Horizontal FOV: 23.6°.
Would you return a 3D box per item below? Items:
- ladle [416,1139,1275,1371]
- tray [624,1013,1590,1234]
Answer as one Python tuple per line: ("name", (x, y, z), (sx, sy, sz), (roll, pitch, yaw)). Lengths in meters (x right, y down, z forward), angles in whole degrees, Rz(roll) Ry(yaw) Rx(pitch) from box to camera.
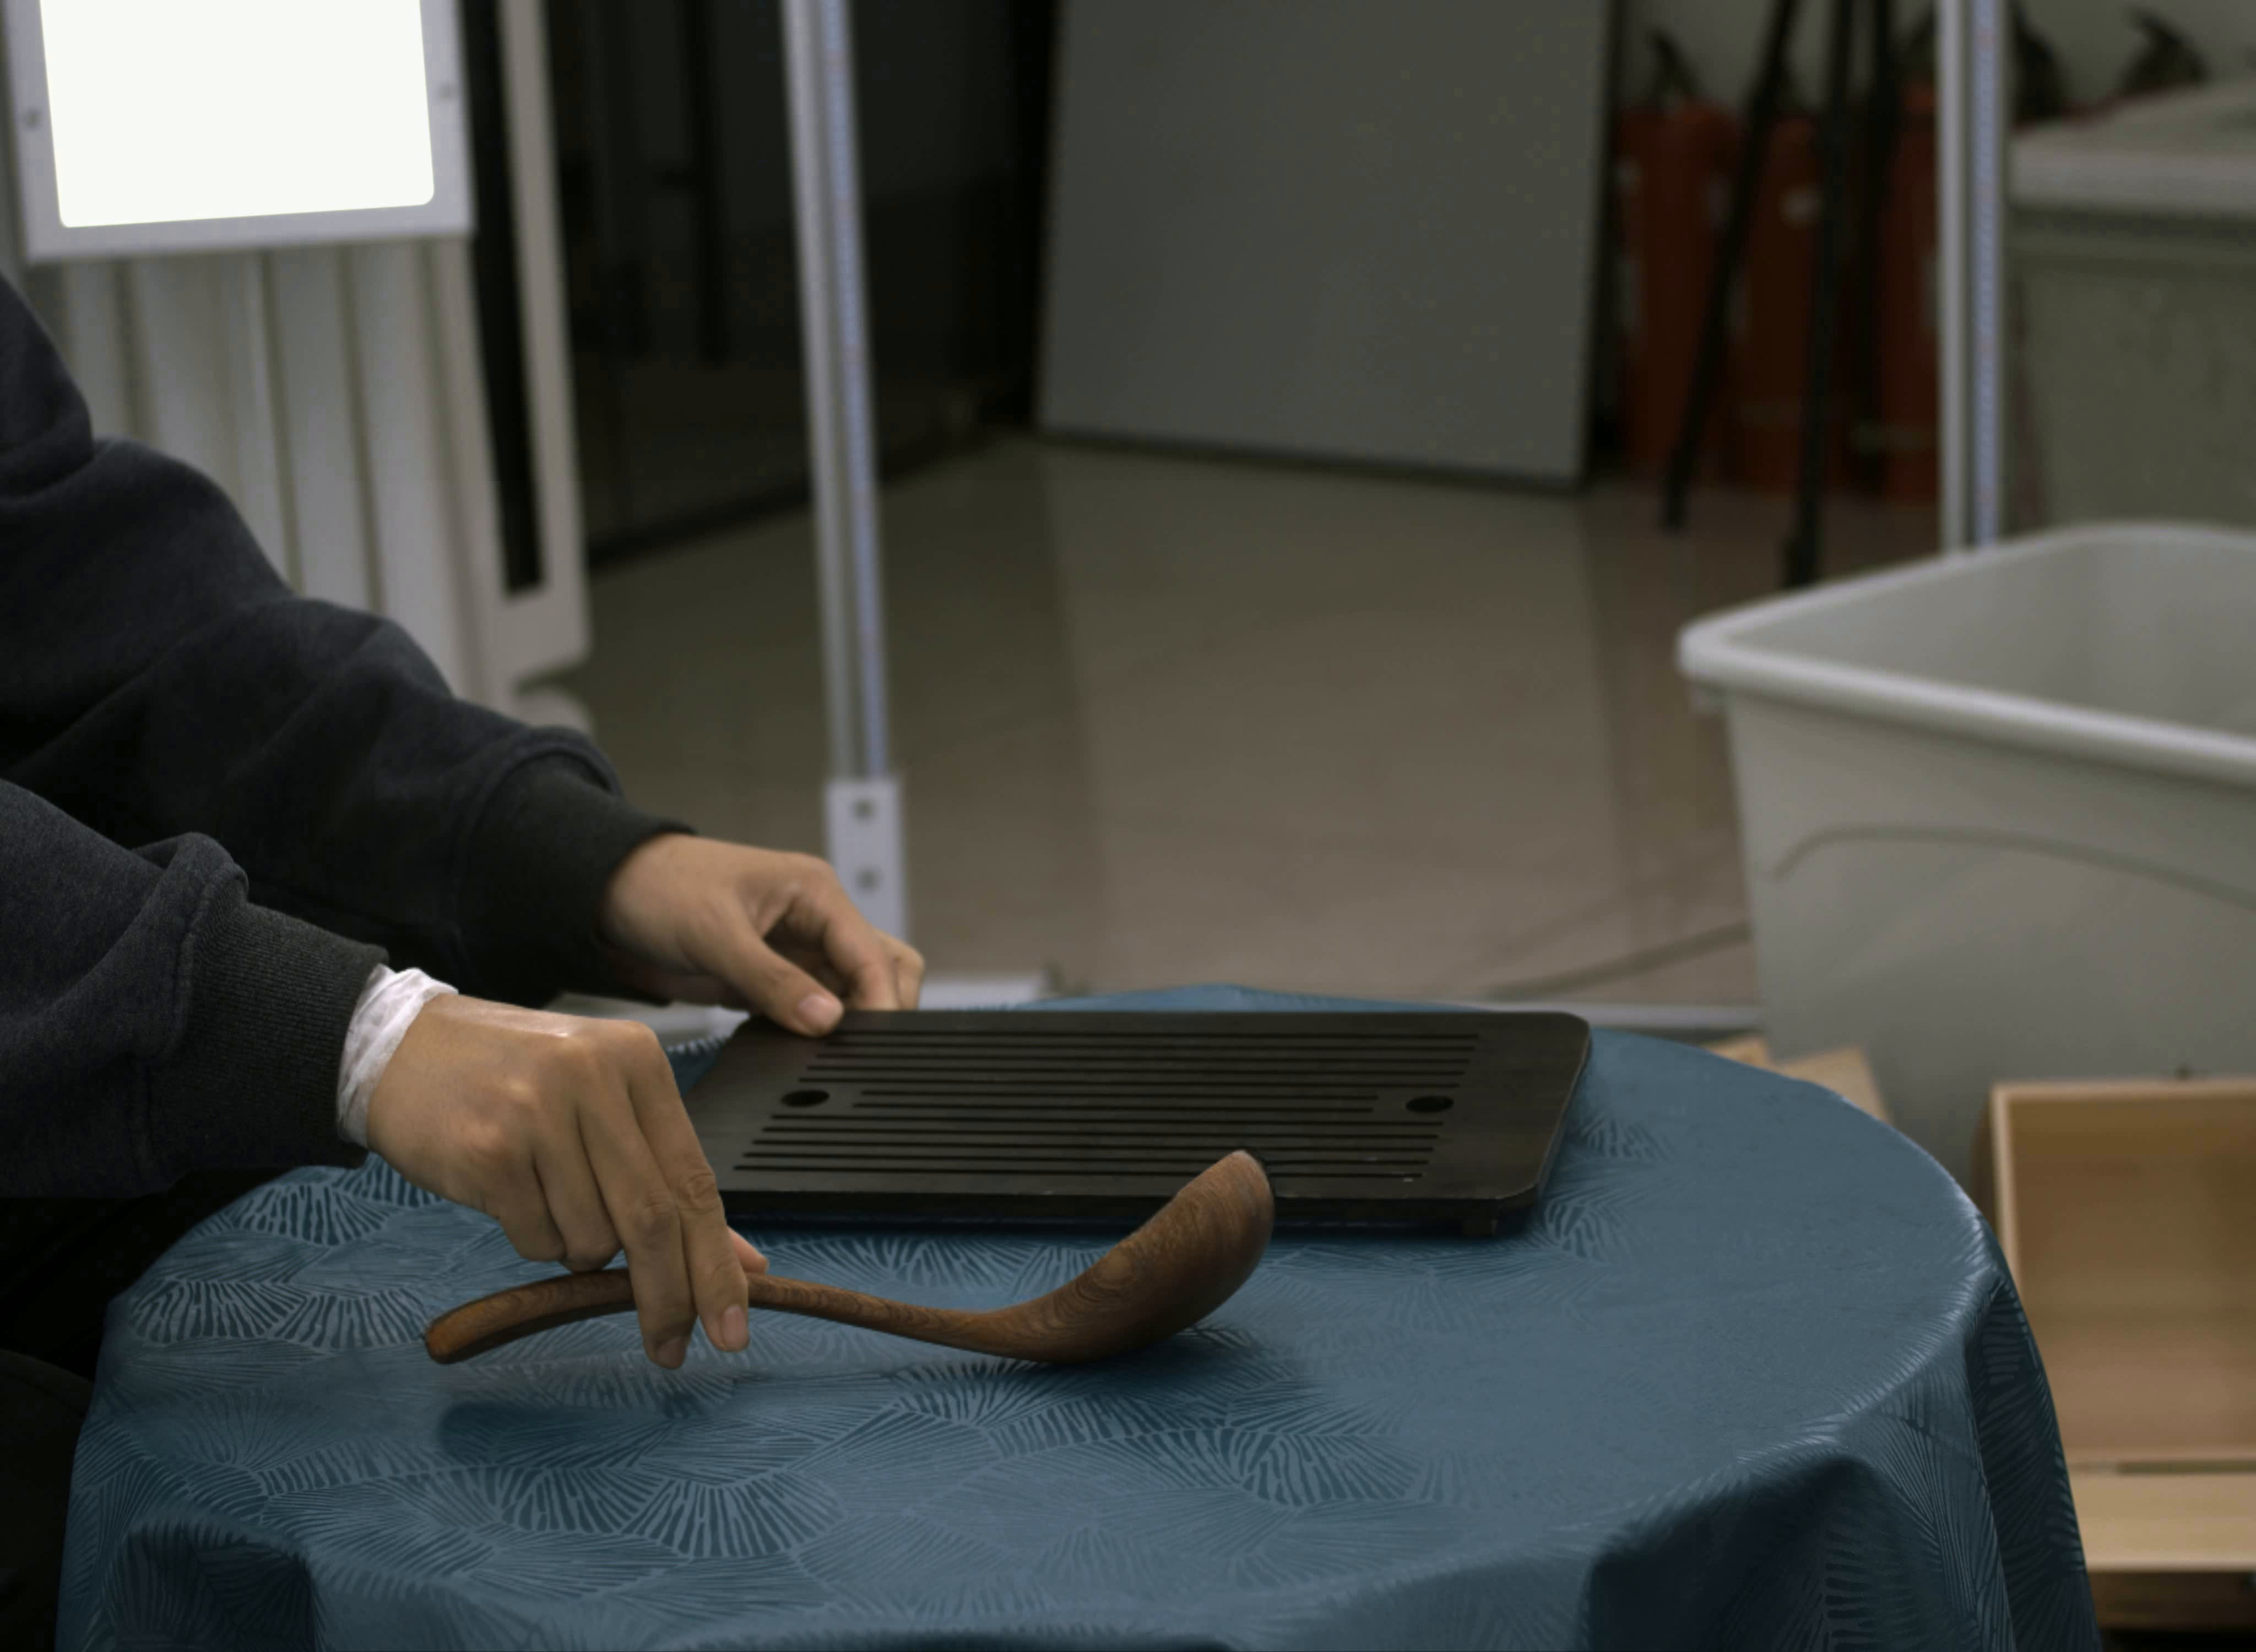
("ladle", (-0.084, 0.129, 1.616), (0.257, 0.066, 0.076), (-1, -19, 5))
("tray", (-0.003, 0.099, 1.804), (0.304, 0.019, 0.169), (-1, 18, 14))
